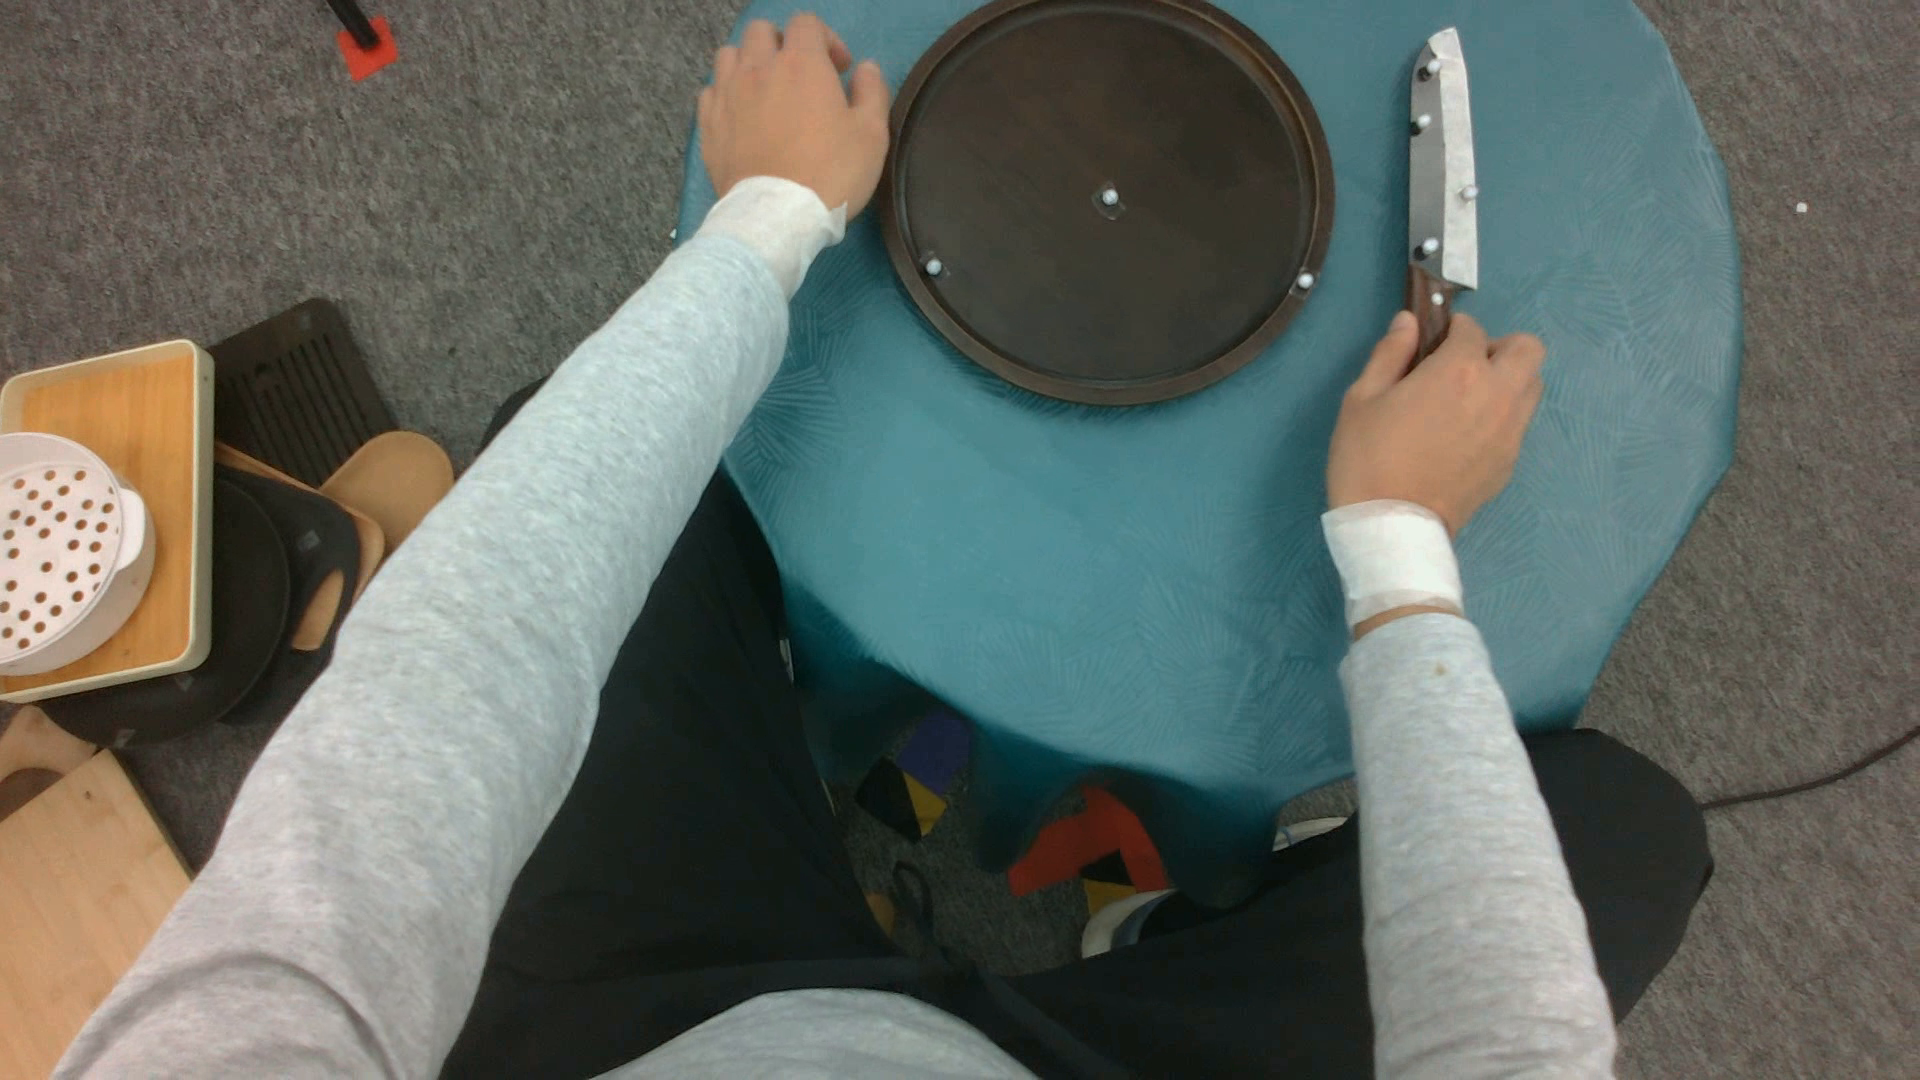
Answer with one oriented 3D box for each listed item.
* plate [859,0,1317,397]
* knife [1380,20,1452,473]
[{"bbox_3d":[0.071,-0.199,0.763,0.255,0.029,0.255,1,78,-4],"label":"plate"},{"bbox_3d":[0.253,-0.170,0.764,0.050,0.020,0.290,14,71,-18],"label":"knife"}]
